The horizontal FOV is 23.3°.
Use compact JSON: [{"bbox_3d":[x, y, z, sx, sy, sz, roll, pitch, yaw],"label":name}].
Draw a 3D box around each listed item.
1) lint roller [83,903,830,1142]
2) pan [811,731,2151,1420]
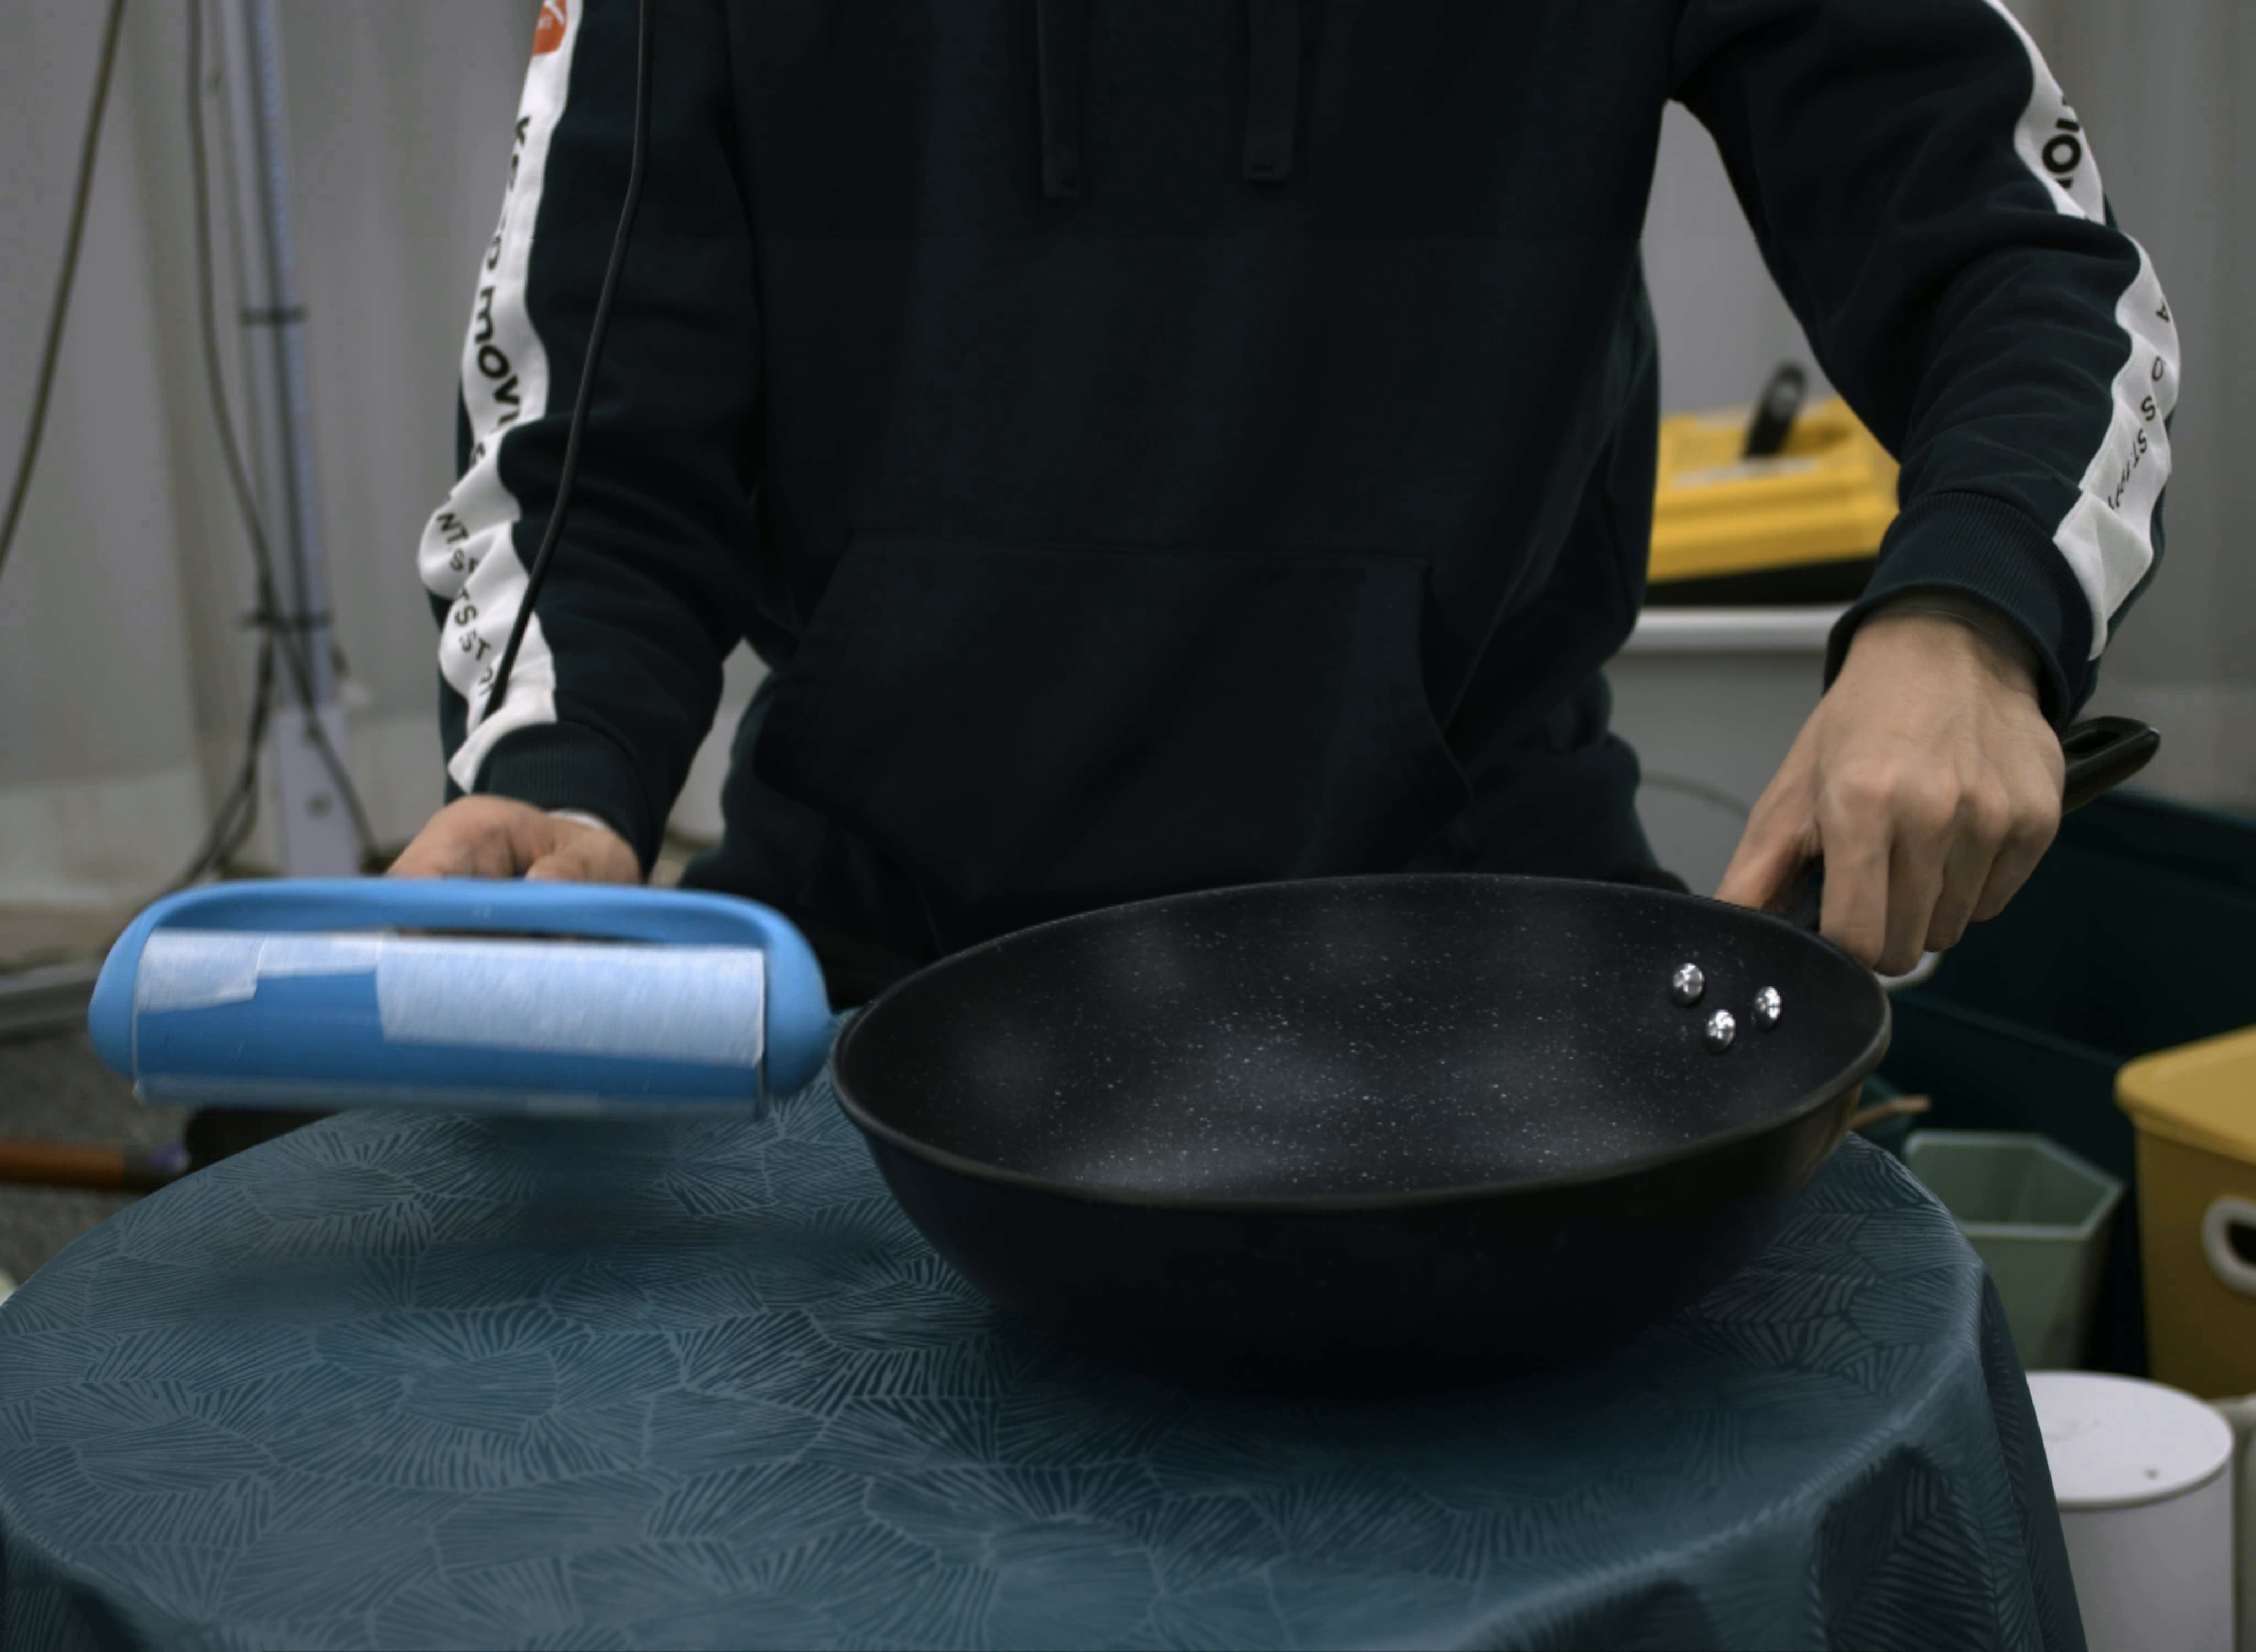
[{"bbox_3d":[-0.208,0.055,1.737,0.228,0.068,0.181,-1,13,-1],"label":"lint roller"},{"bbox_3d":[0.131,0.073,1.635,0.475,0.111,0.312,-14,20,-33],"label":"pan"}]
